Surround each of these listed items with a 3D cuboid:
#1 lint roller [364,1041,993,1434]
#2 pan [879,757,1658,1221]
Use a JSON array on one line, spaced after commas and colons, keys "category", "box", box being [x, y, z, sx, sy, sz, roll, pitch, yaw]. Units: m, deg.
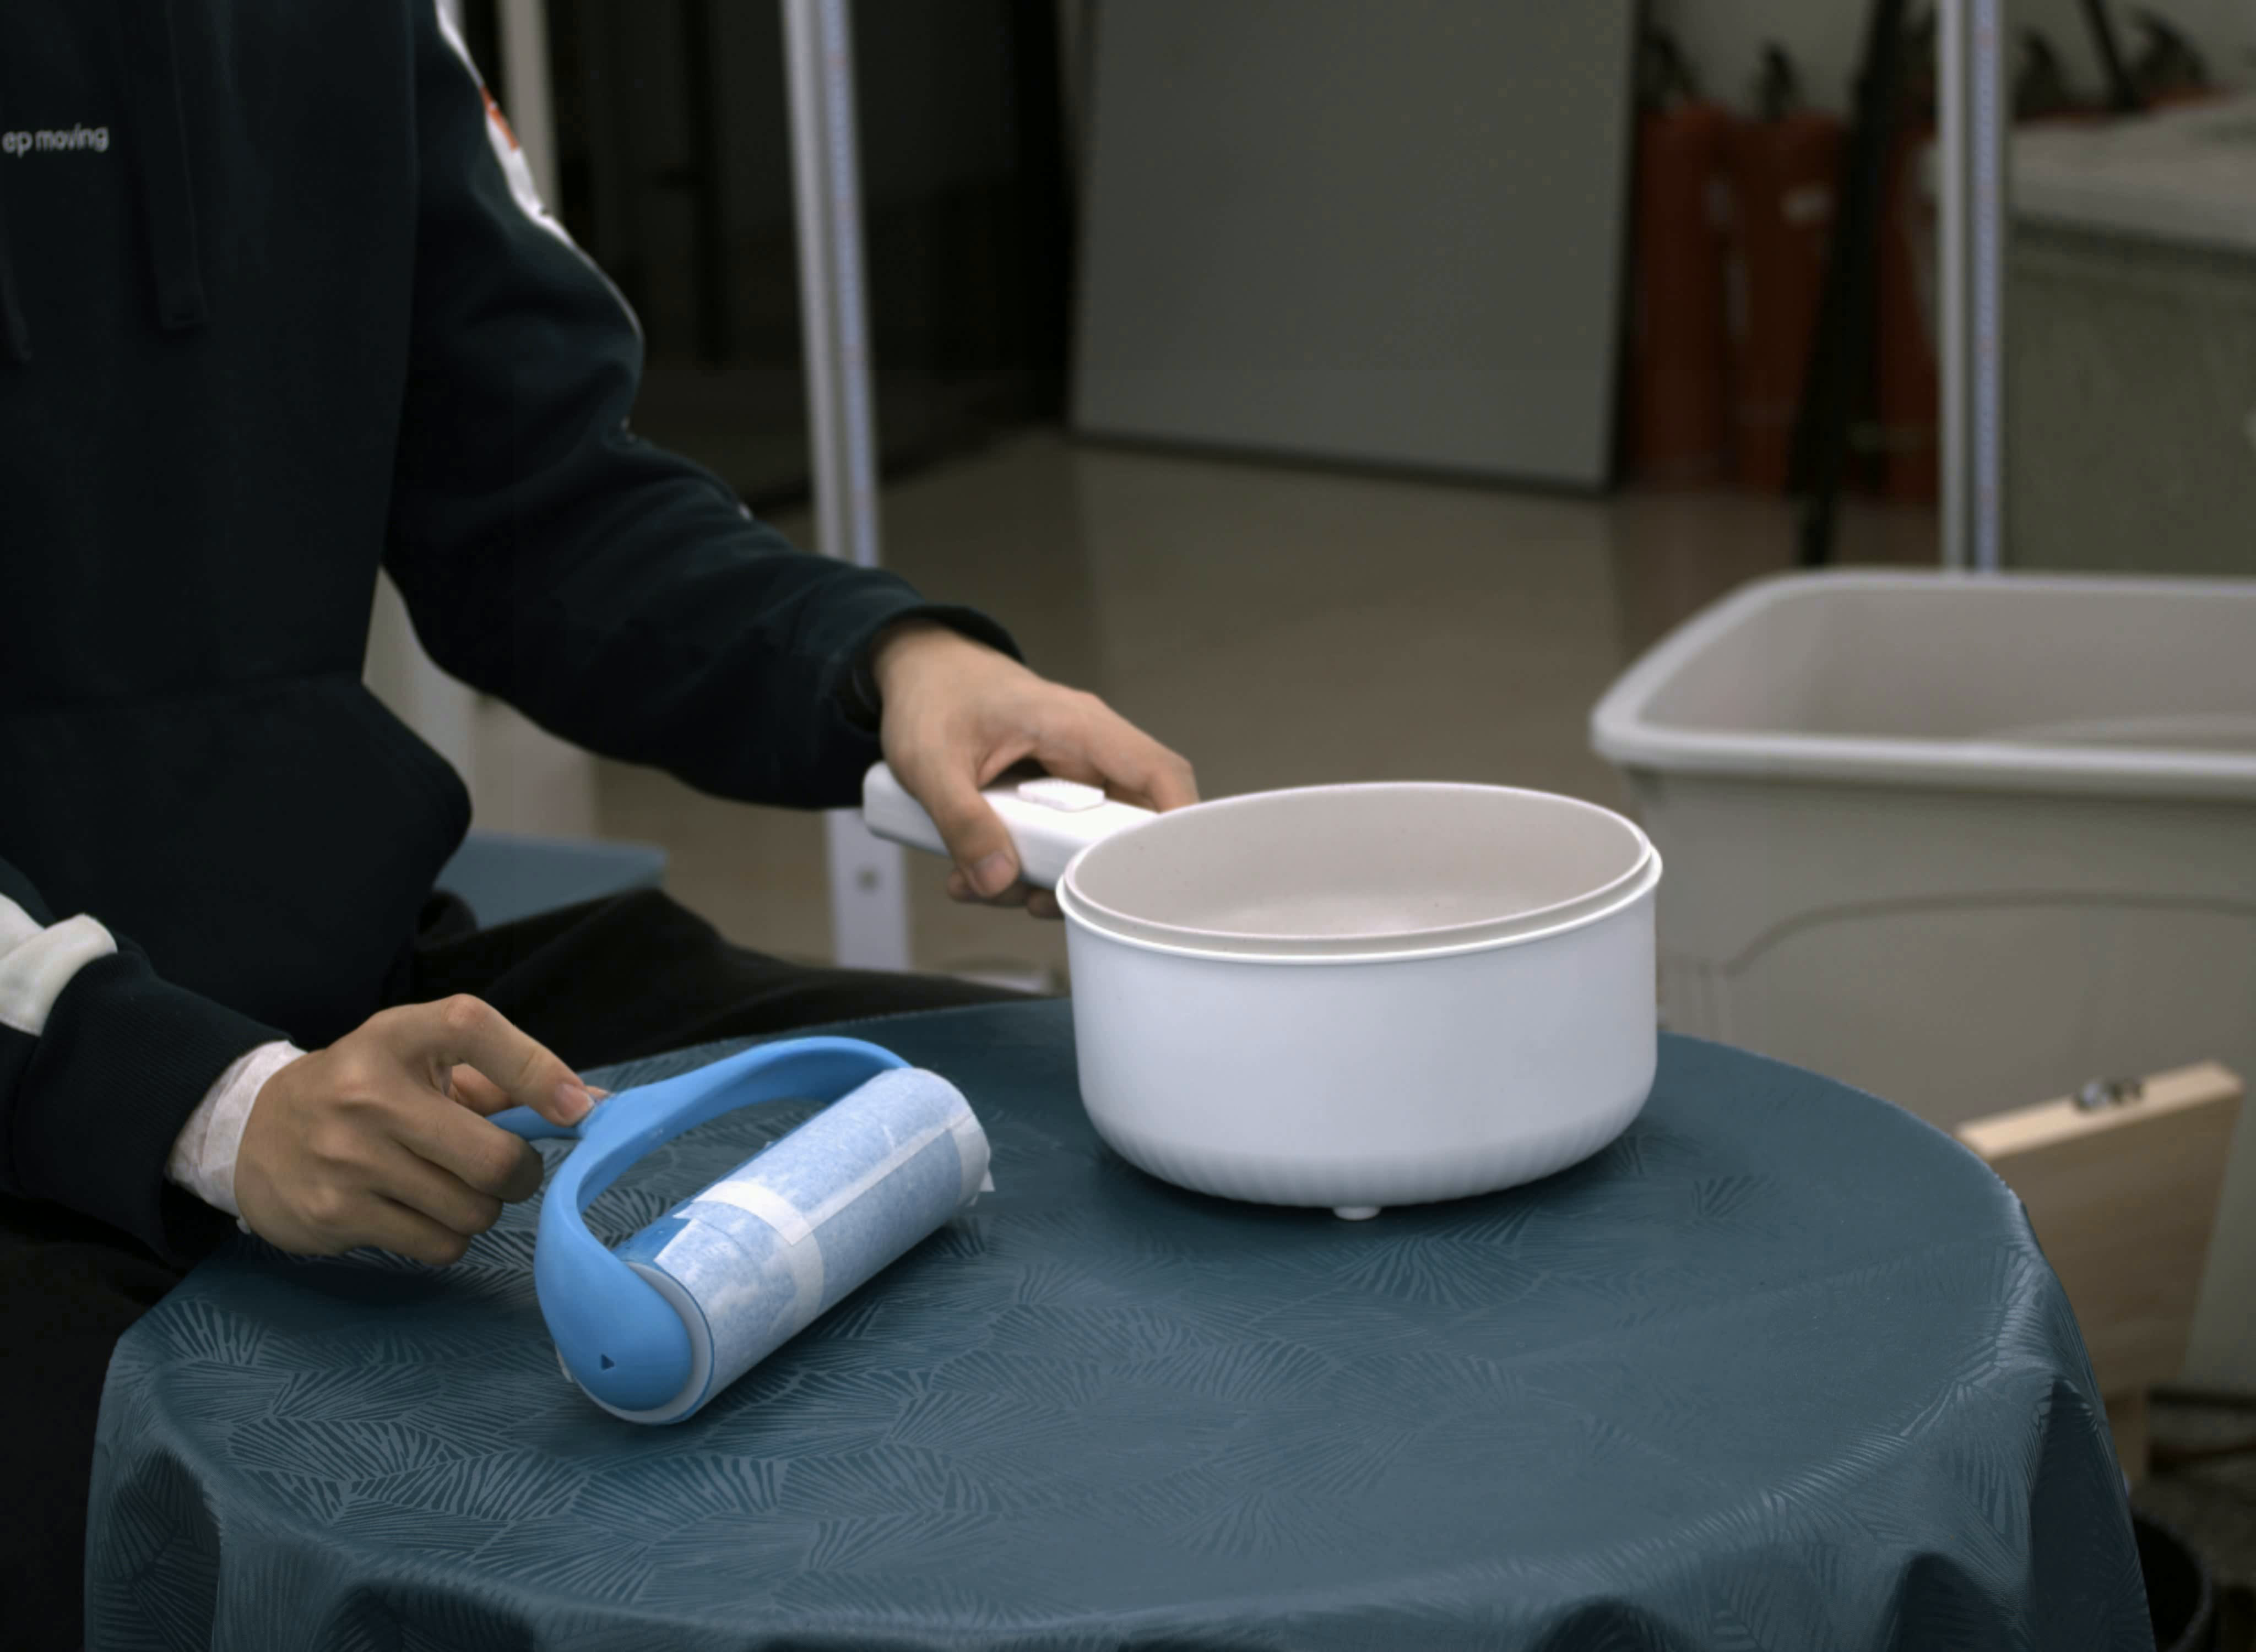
[{"category": "lint roller", "box": [-0.159, 0.118, 1.683, 0.180, 0.068, 0.226, 10, 20, 19]}, {"category": "pan", "box": [0.031, 0.048, 1.849, 0.197, 0.103, 0.358, -14, 16, -35]}]
